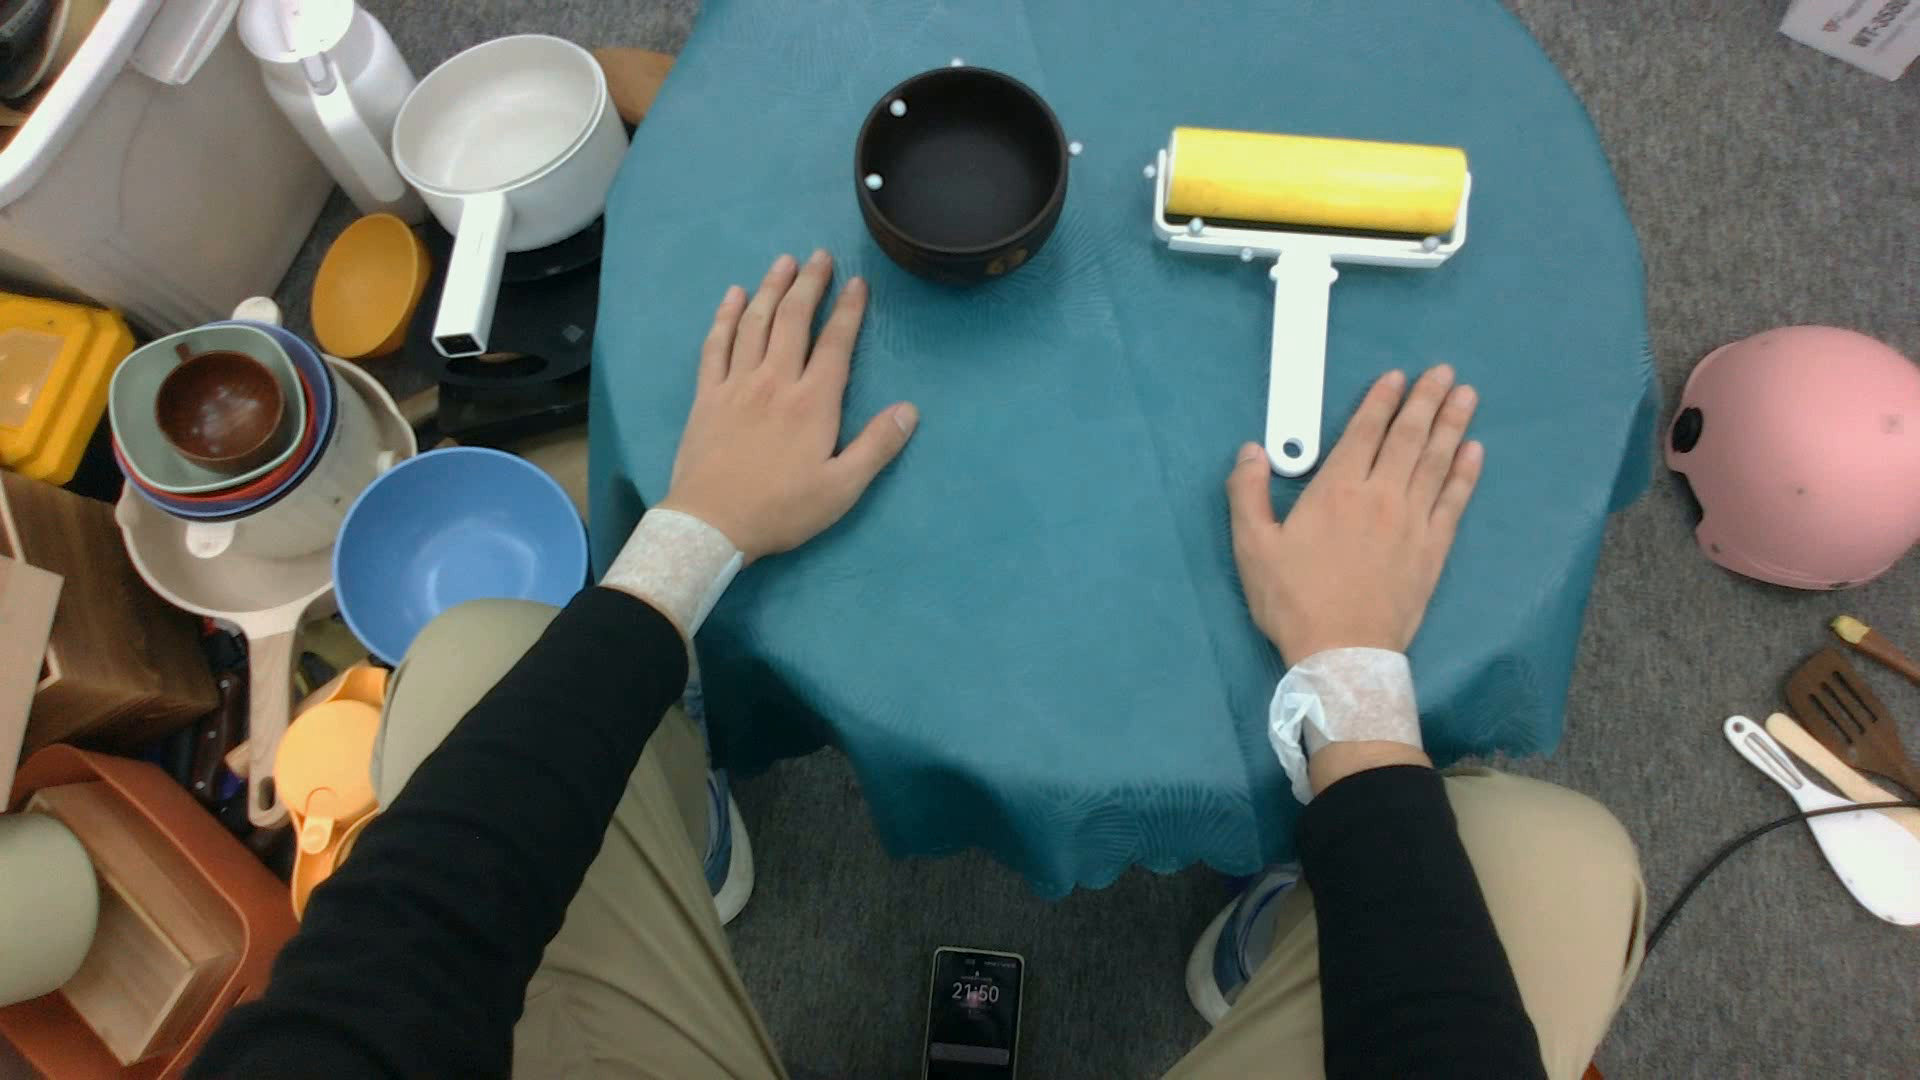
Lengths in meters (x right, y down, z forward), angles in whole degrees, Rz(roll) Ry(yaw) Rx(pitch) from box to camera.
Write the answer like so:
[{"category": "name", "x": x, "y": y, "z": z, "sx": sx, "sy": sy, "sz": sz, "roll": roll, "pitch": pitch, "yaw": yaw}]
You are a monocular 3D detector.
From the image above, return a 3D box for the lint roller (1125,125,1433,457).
[{"category": "lint roller", "x": 0.179, "y": -0.143, "z": 0.767, "sx": 0.174, "sy": 0.051, "sz": 0.192, "roll": 3, "pitch": 68, "yaw": 0}]

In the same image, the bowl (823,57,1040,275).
[{"category": "bowl", "x": -0.016, "y": -0.200, "z": 0.767, "sx": 0.118, "sy": 0.069, "sz": 0.118, "roll": 0, "pitch": 72, "yaw": -1}]
